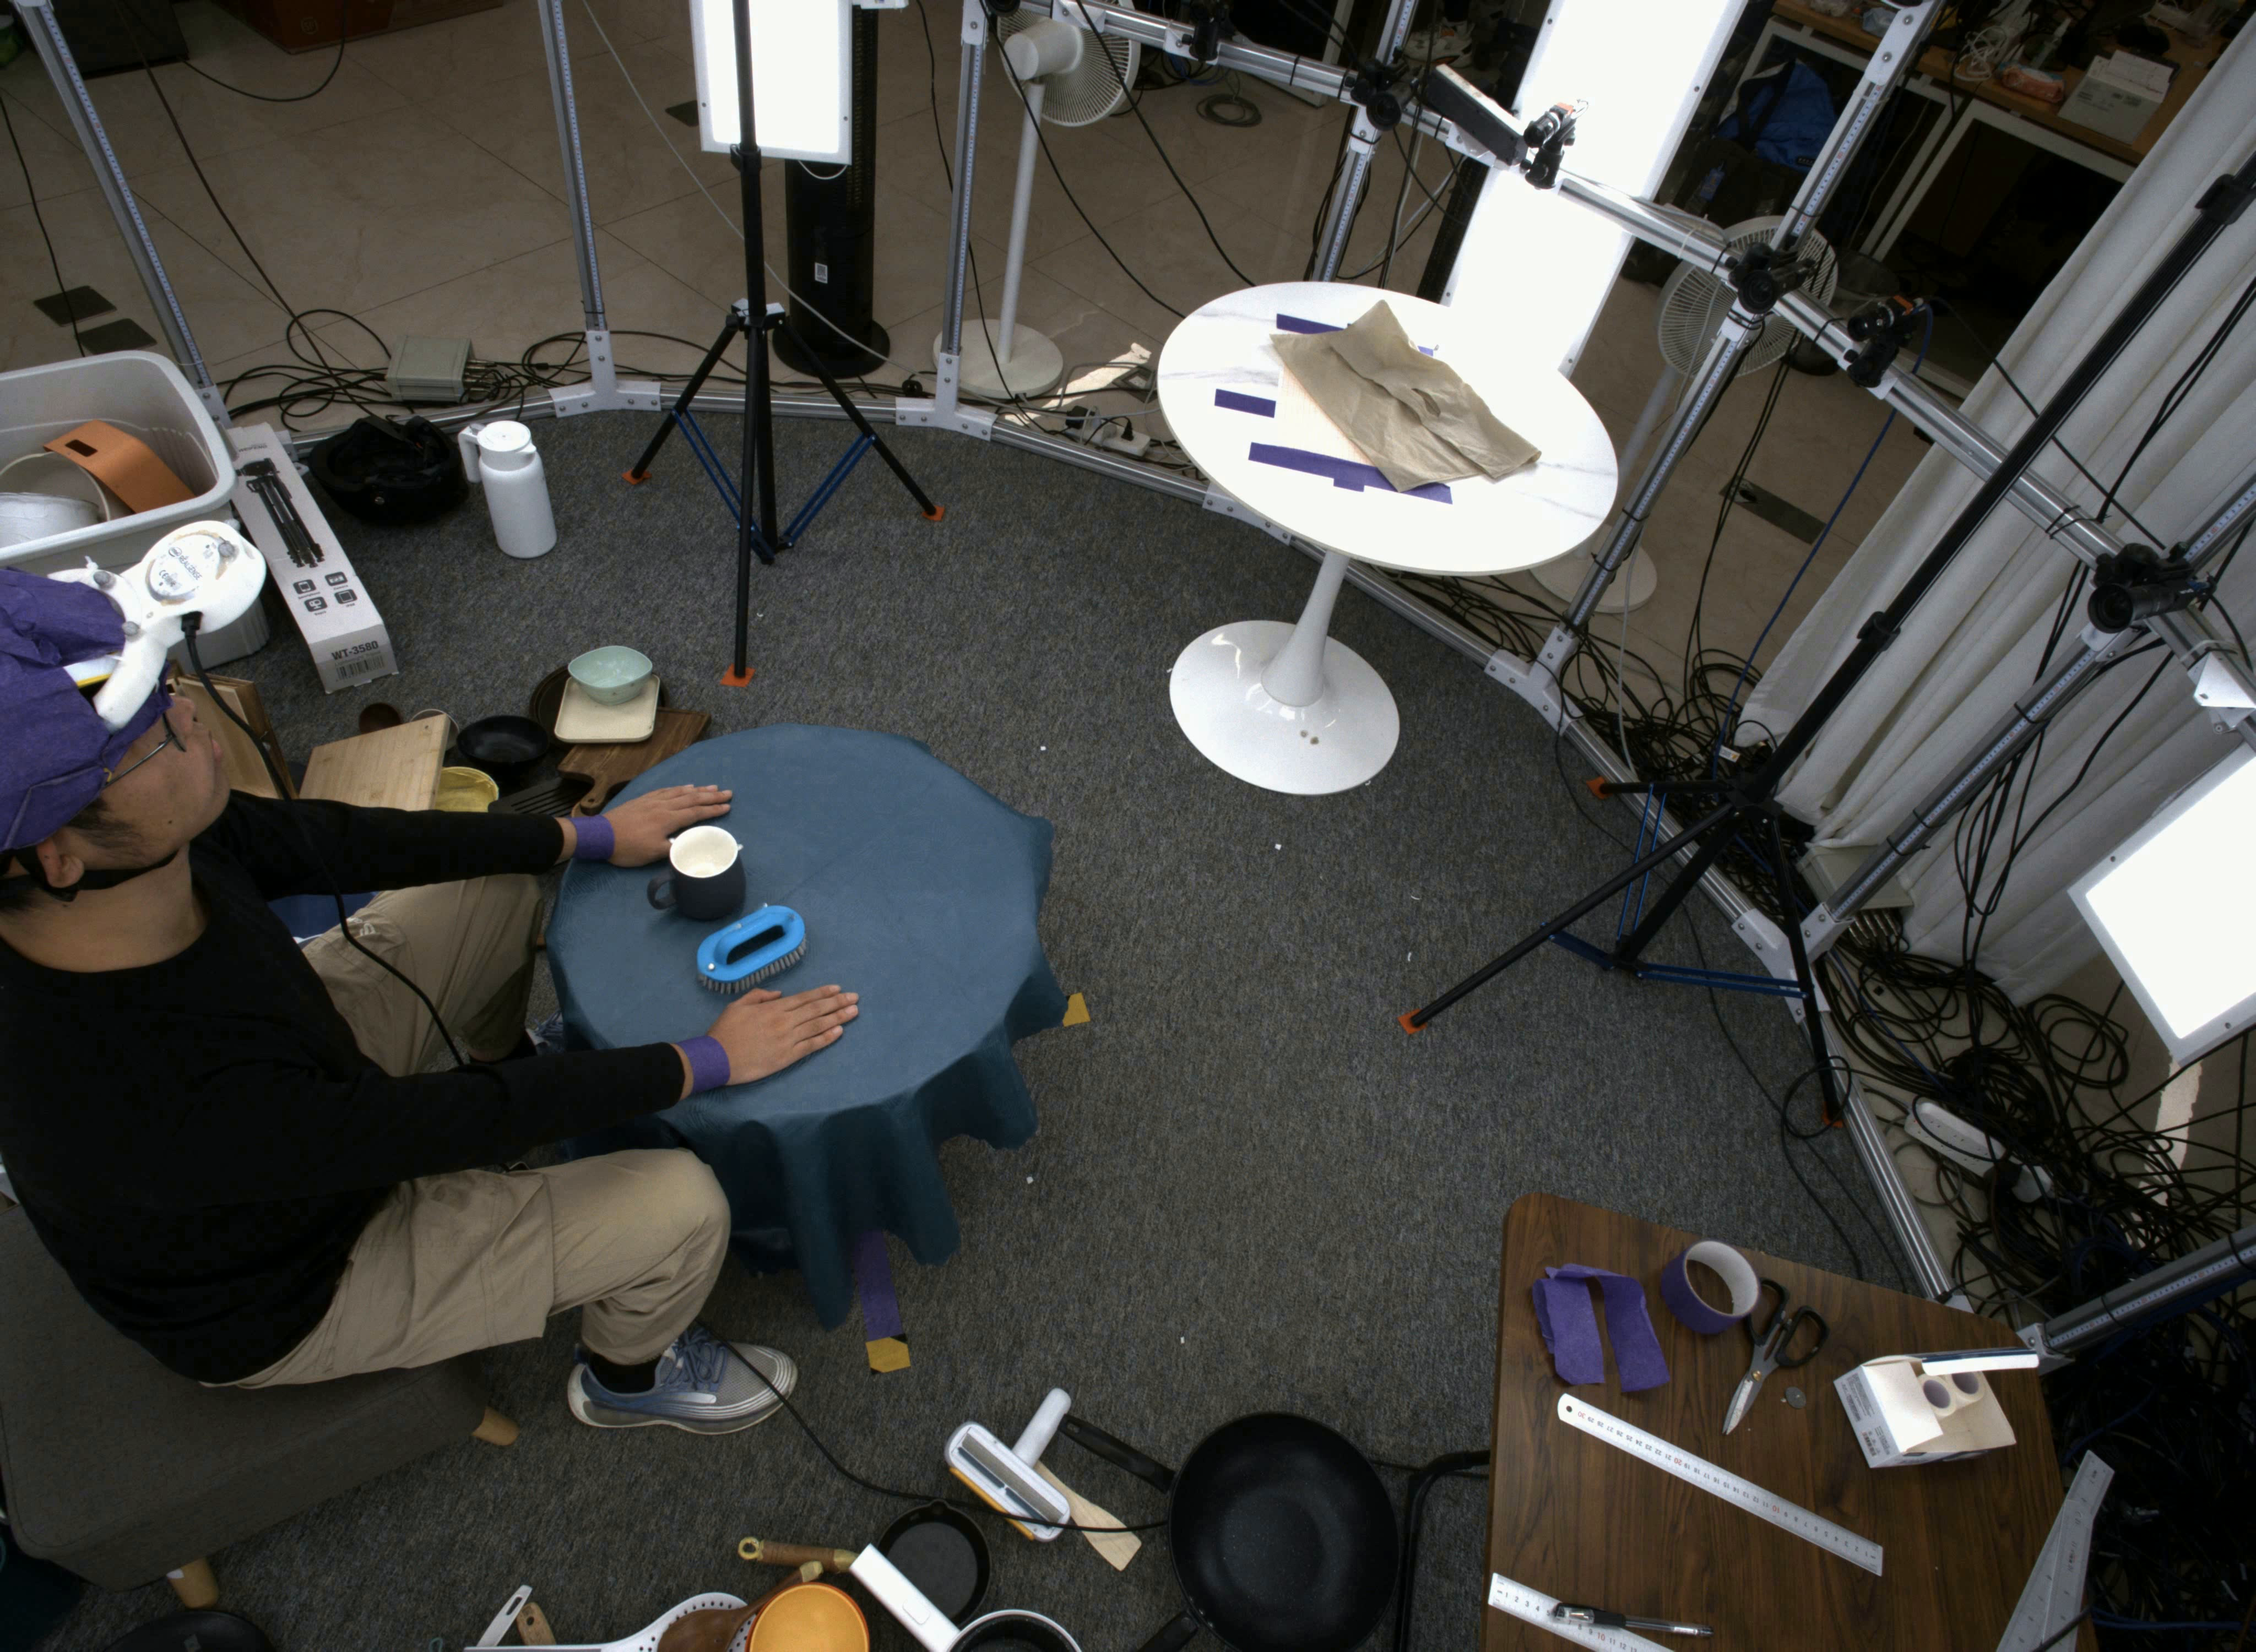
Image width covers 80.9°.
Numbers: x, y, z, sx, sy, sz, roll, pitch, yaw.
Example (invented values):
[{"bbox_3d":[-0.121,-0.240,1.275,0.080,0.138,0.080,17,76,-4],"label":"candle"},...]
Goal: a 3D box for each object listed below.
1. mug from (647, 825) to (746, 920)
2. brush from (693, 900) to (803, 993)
[{"bbox_3d":[-0.536,0.060,1.593,0.124,0.092,0.091,-24,61,-30],"label":"mug"},{"bbox_3d":[-0.460,0.138,1.573,0.142,0.065,0.083,-29,69,-29],"label":"brush"}]
